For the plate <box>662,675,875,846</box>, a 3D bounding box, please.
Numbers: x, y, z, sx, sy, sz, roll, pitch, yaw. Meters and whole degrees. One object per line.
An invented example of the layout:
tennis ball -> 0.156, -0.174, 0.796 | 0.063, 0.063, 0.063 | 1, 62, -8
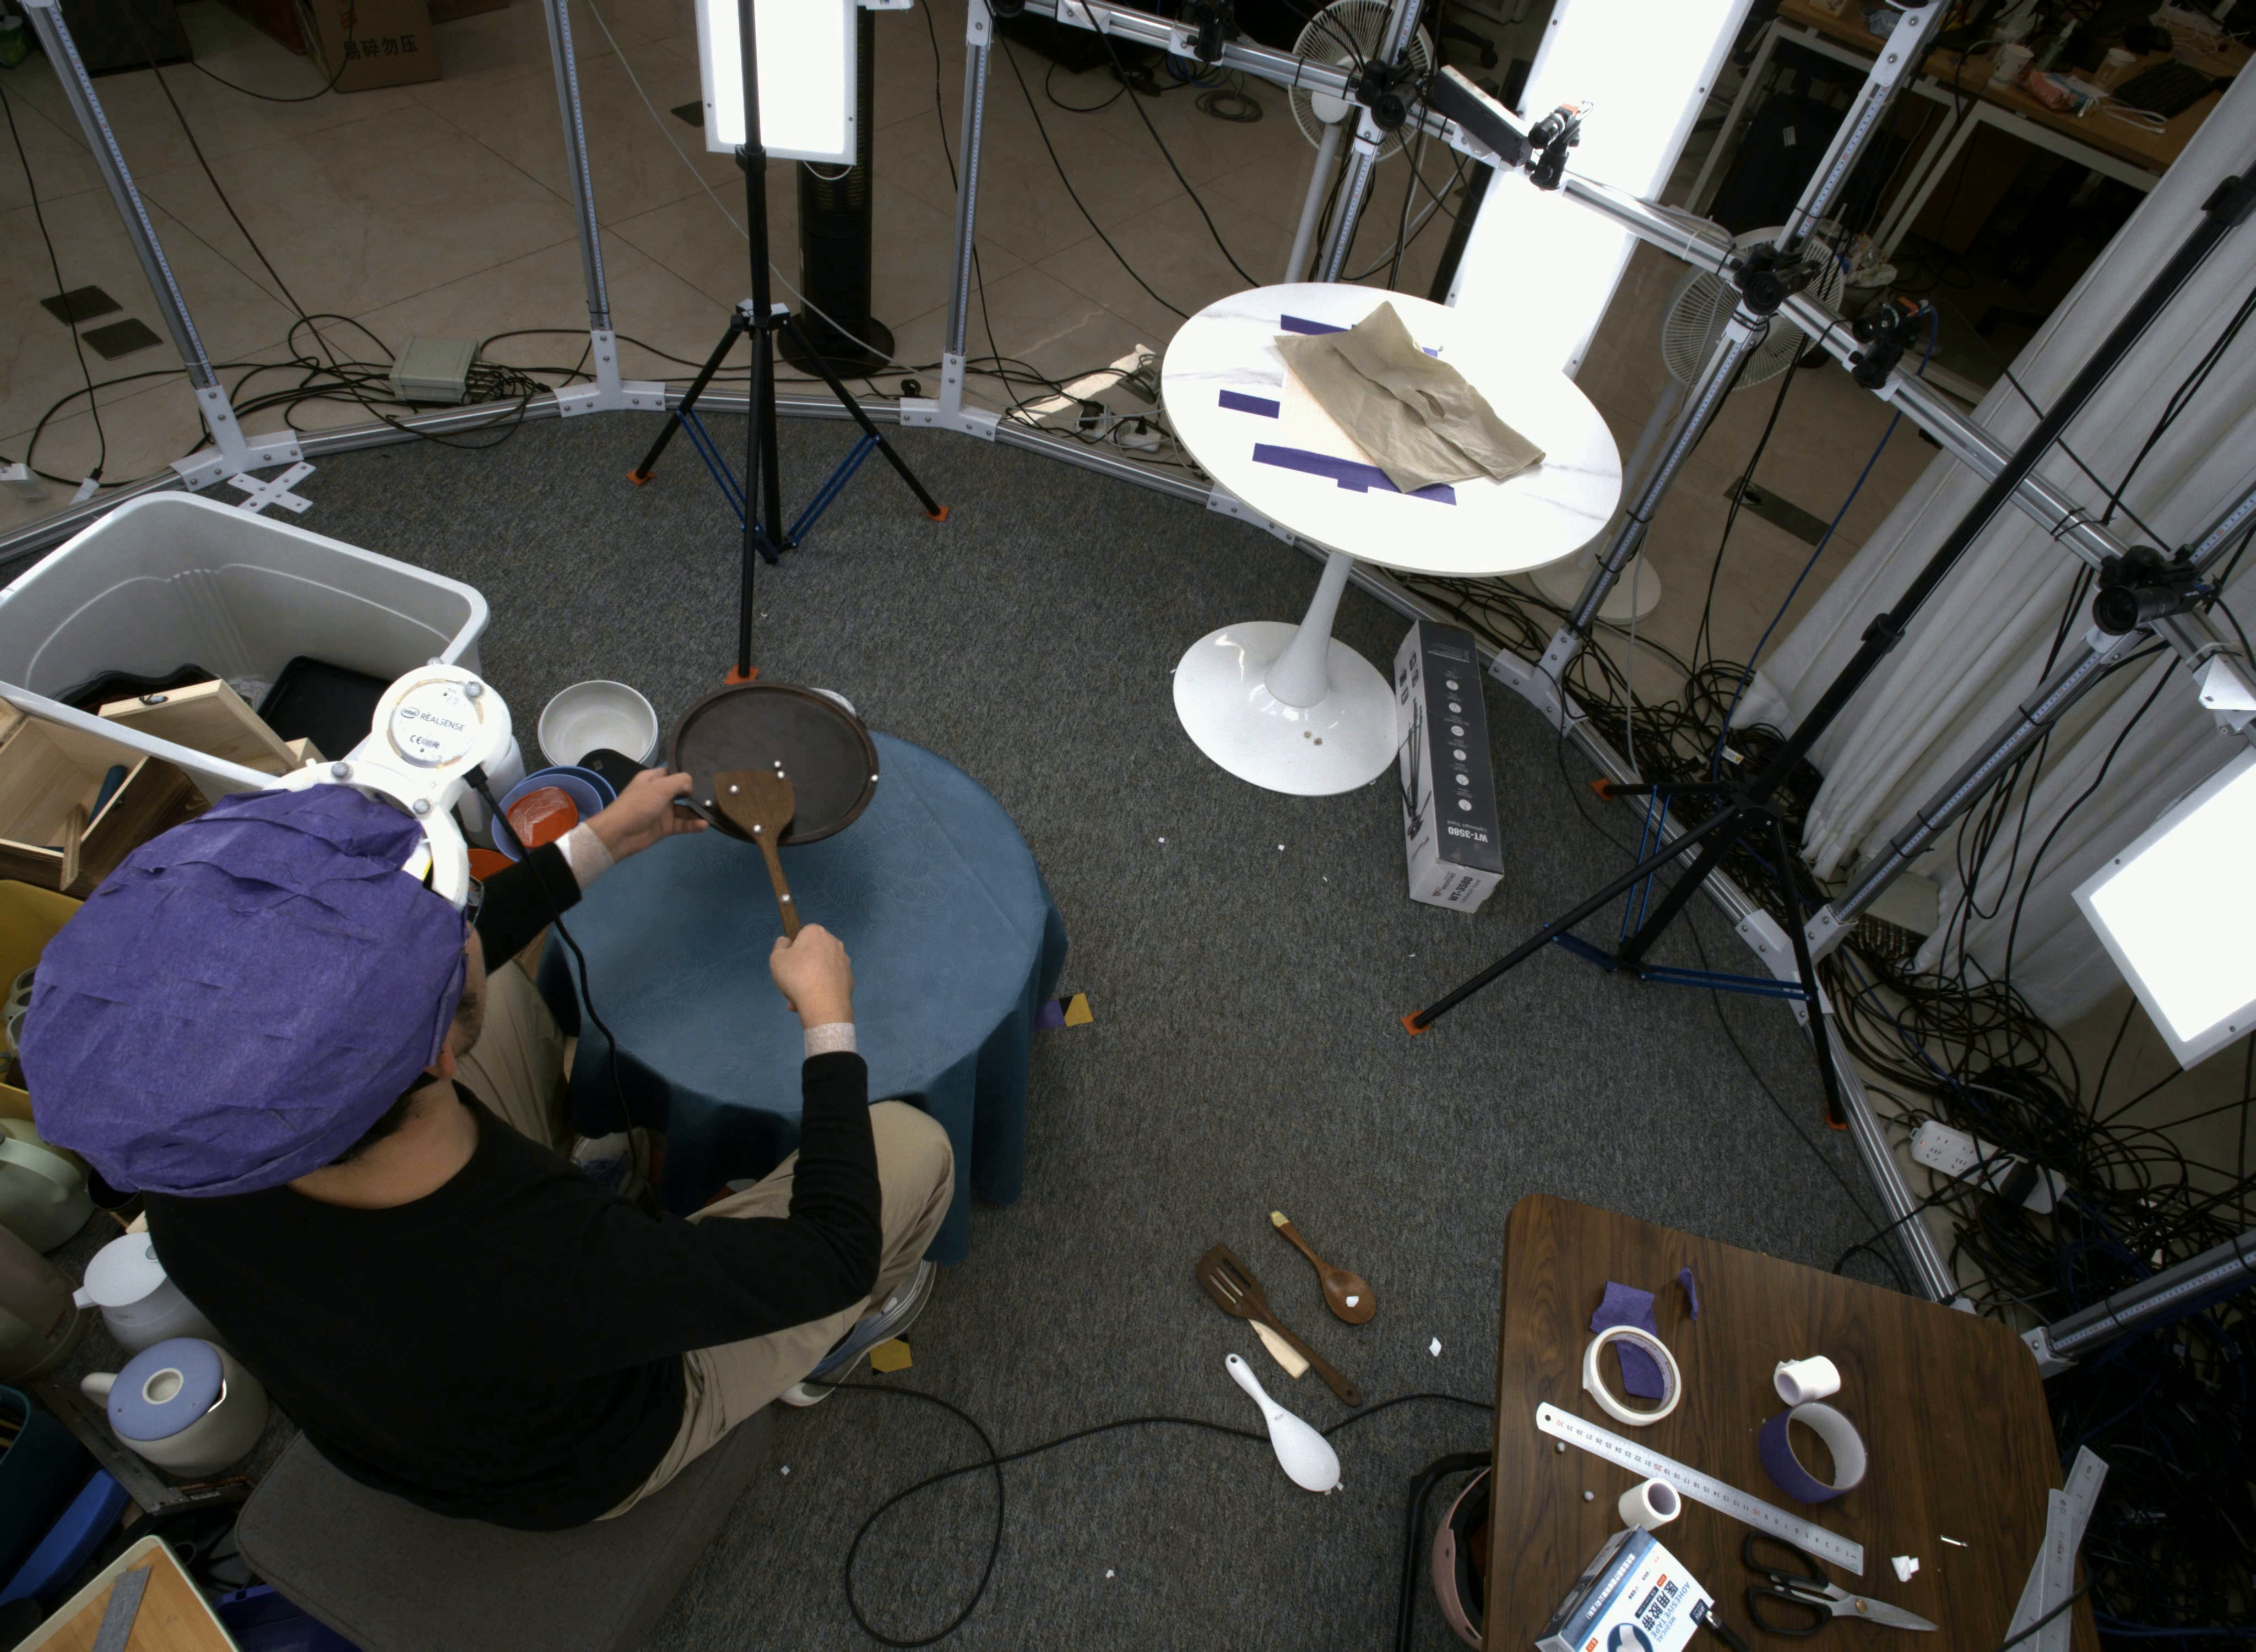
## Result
plate -> -0.433, -0.081, 1.560 | 0.256, 0.029, 0.250 | 14, 52, -16

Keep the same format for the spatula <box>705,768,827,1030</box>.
spatula -> -0.383, 0.065, 1.407 | 0.098, 0.016, 0.374 | 1, 44, -34
